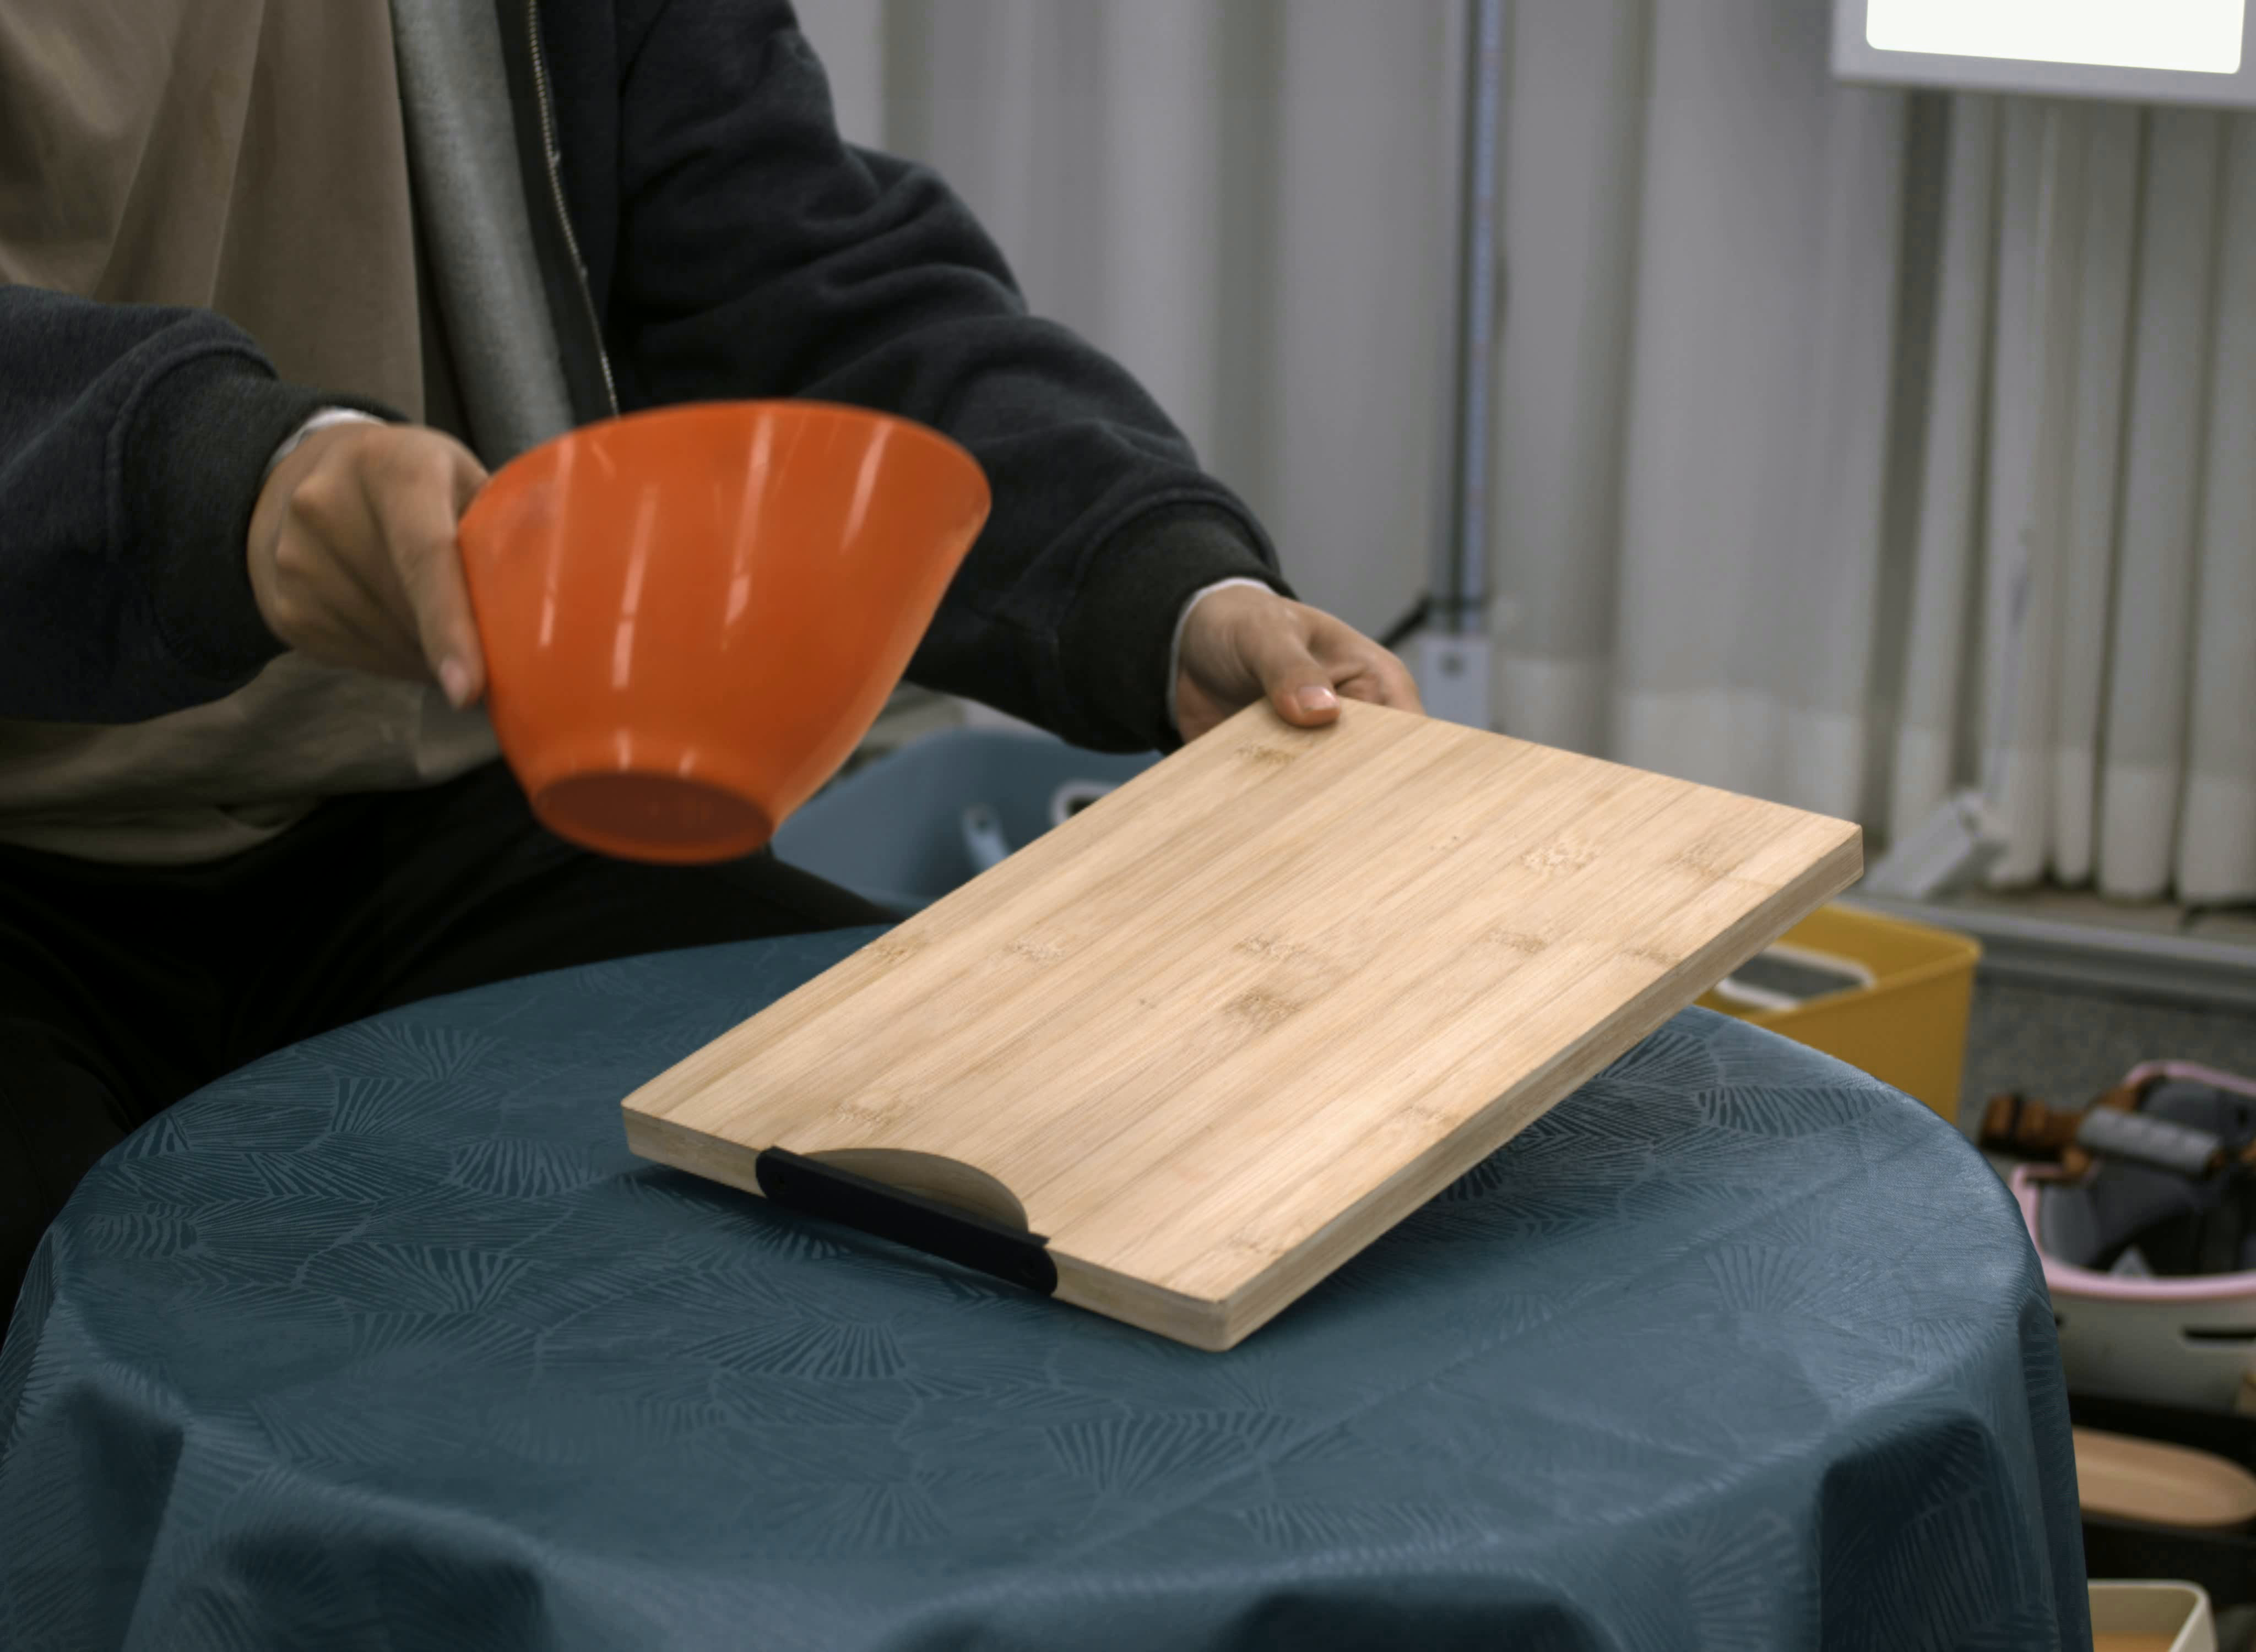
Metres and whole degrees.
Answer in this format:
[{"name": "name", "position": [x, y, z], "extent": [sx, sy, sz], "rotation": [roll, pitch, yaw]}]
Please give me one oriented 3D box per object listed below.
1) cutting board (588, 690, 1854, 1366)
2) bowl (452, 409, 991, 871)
[{"name": "cutting board", "position": [0.037, 0.053, 1.665], "extent": [0.247, 0.024, 0.349], "rotation": [14, 33, 36]}, {"name": "bowl", "position": [-0.115, -0.046, 1.441], "extent": [0.147, 0.104, 0.149], "rotation": [4, -20, 2]}]
